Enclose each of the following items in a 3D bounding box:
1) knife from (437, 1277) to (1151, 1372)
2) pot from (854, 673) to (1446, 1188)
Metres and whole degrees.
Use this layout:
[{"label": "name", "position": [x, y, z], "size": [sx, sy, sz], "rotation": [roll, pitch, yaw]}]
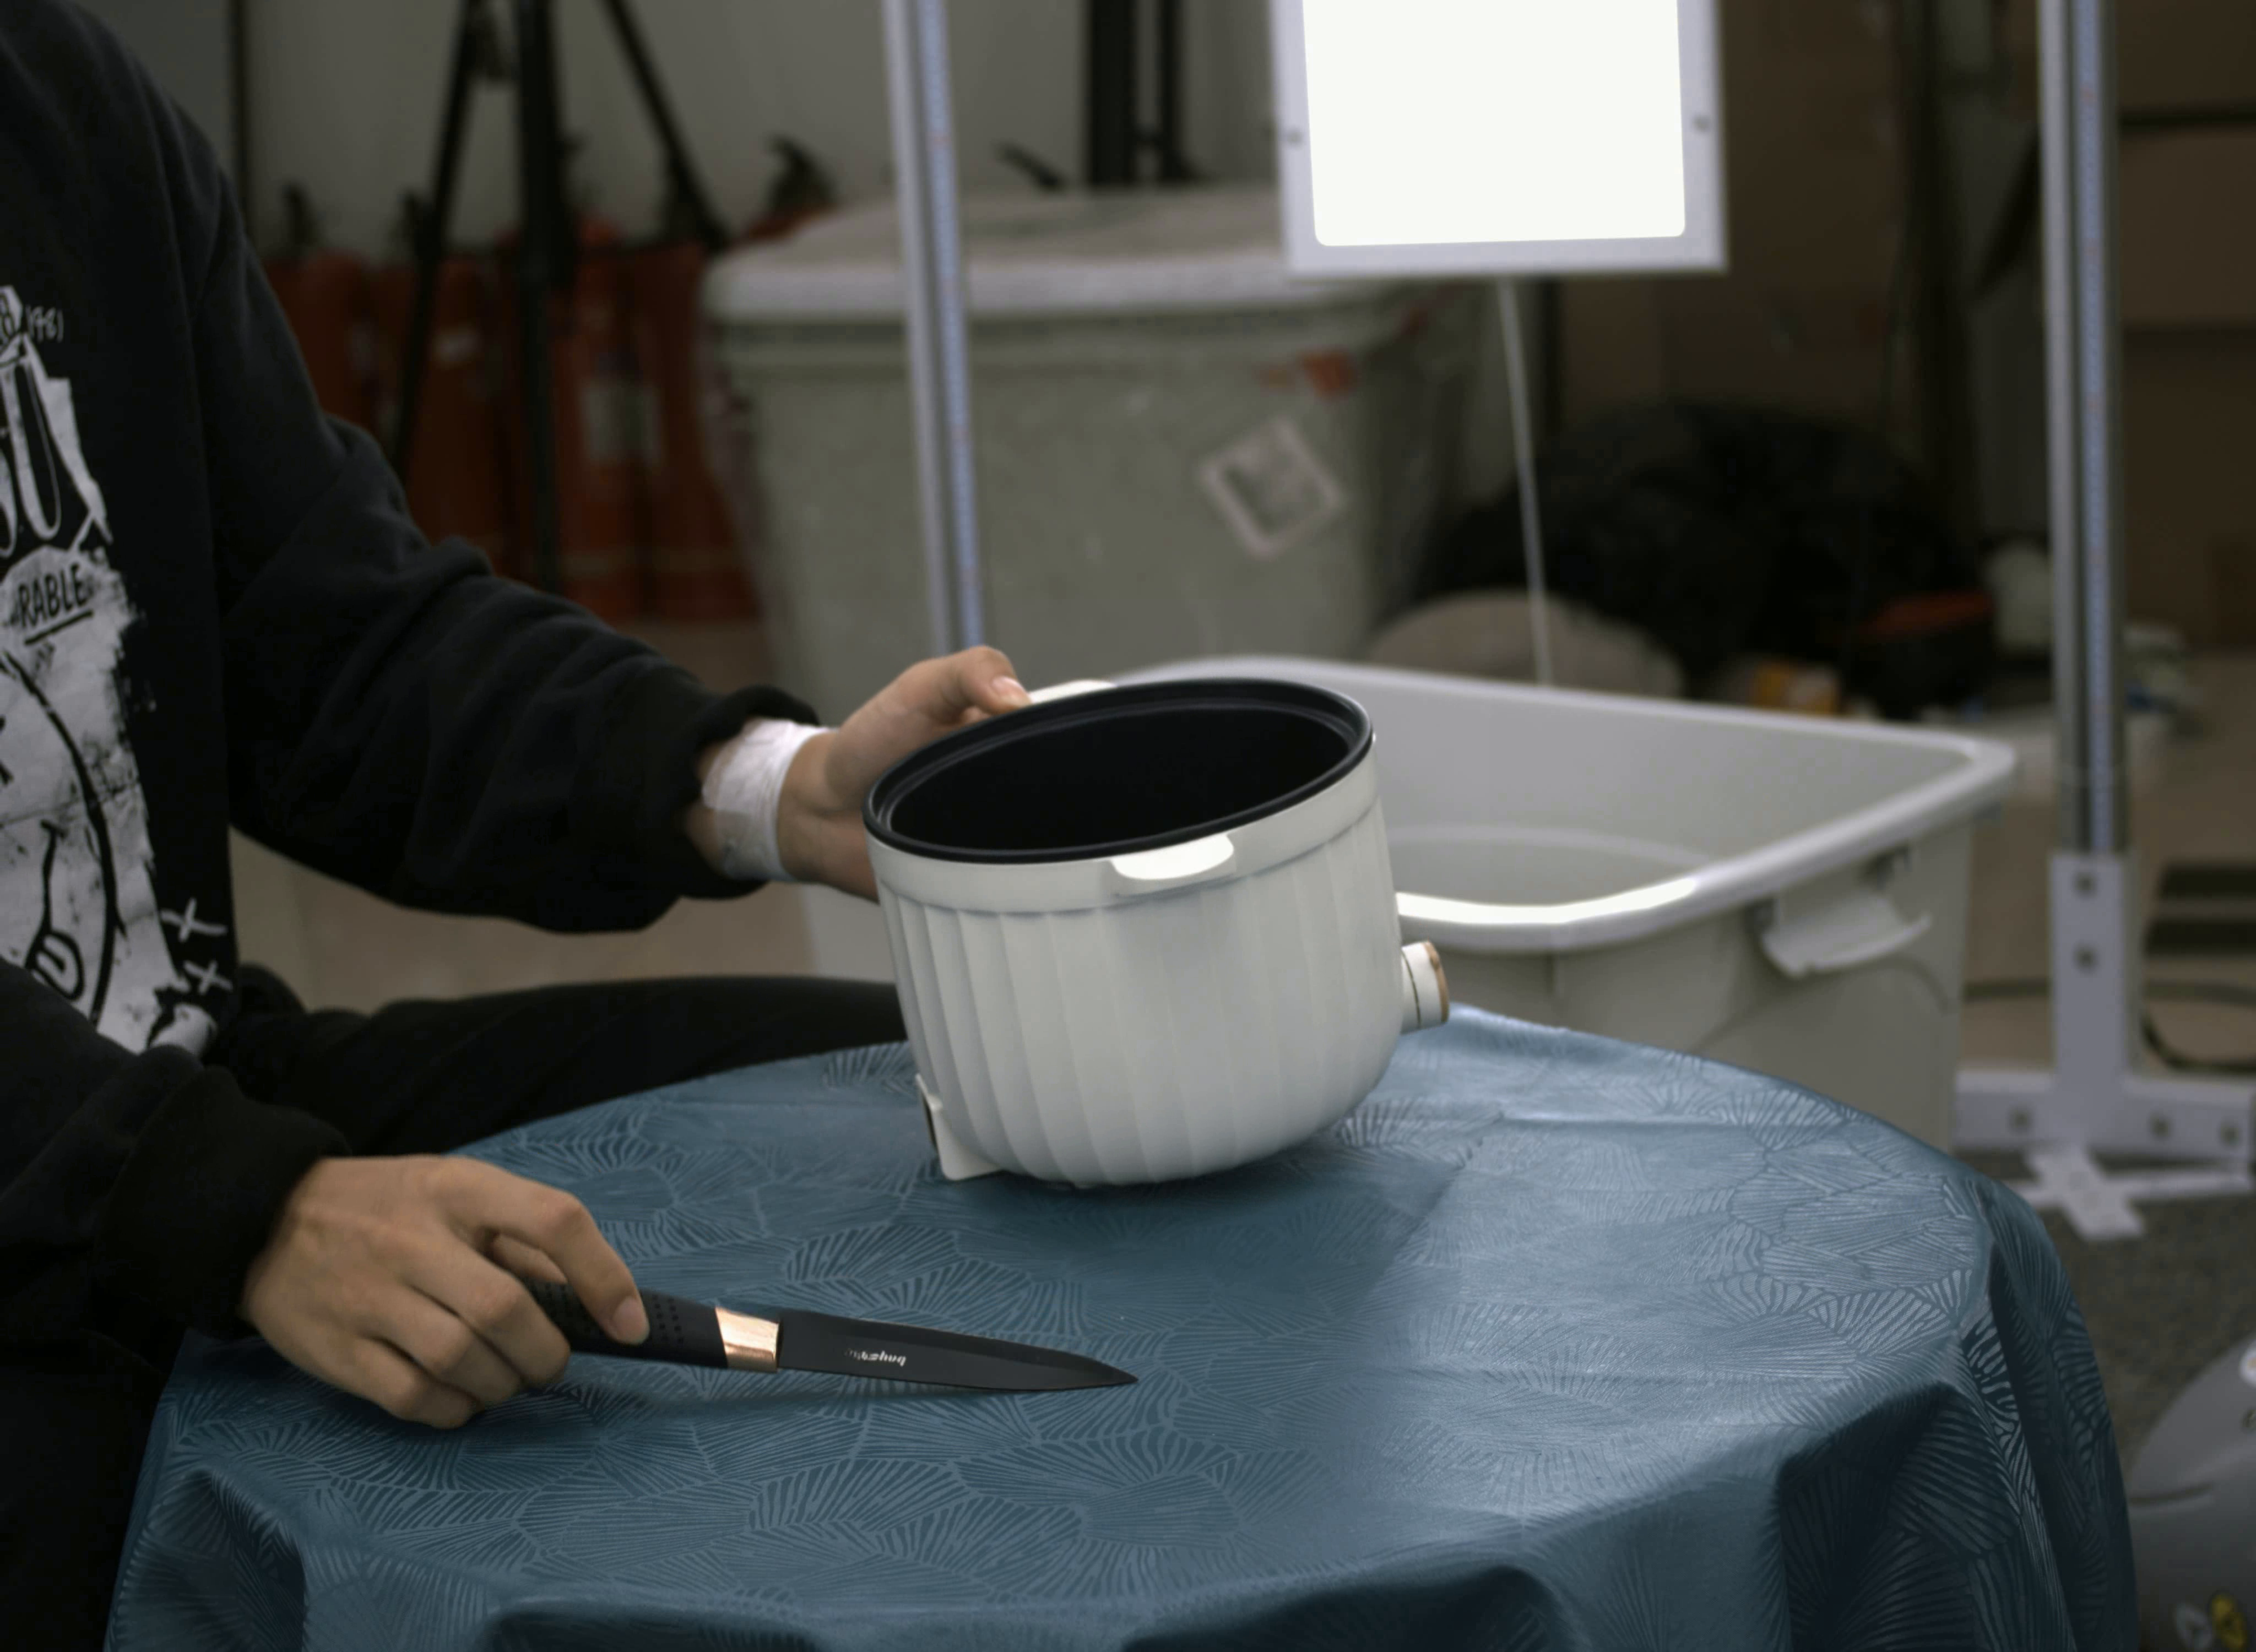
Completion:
[{"label": "knife", "position": [-0.105, 0.159, 1.726], "size": [0.226, 0.017, 0.026], "rotation": [5, 43, 8]}, {"label": "pot", "position": [0.010, 0.038, 1.933], "size": [0.189, 0.143, 0.242], "rotation": [-16, 20, -6]}]
